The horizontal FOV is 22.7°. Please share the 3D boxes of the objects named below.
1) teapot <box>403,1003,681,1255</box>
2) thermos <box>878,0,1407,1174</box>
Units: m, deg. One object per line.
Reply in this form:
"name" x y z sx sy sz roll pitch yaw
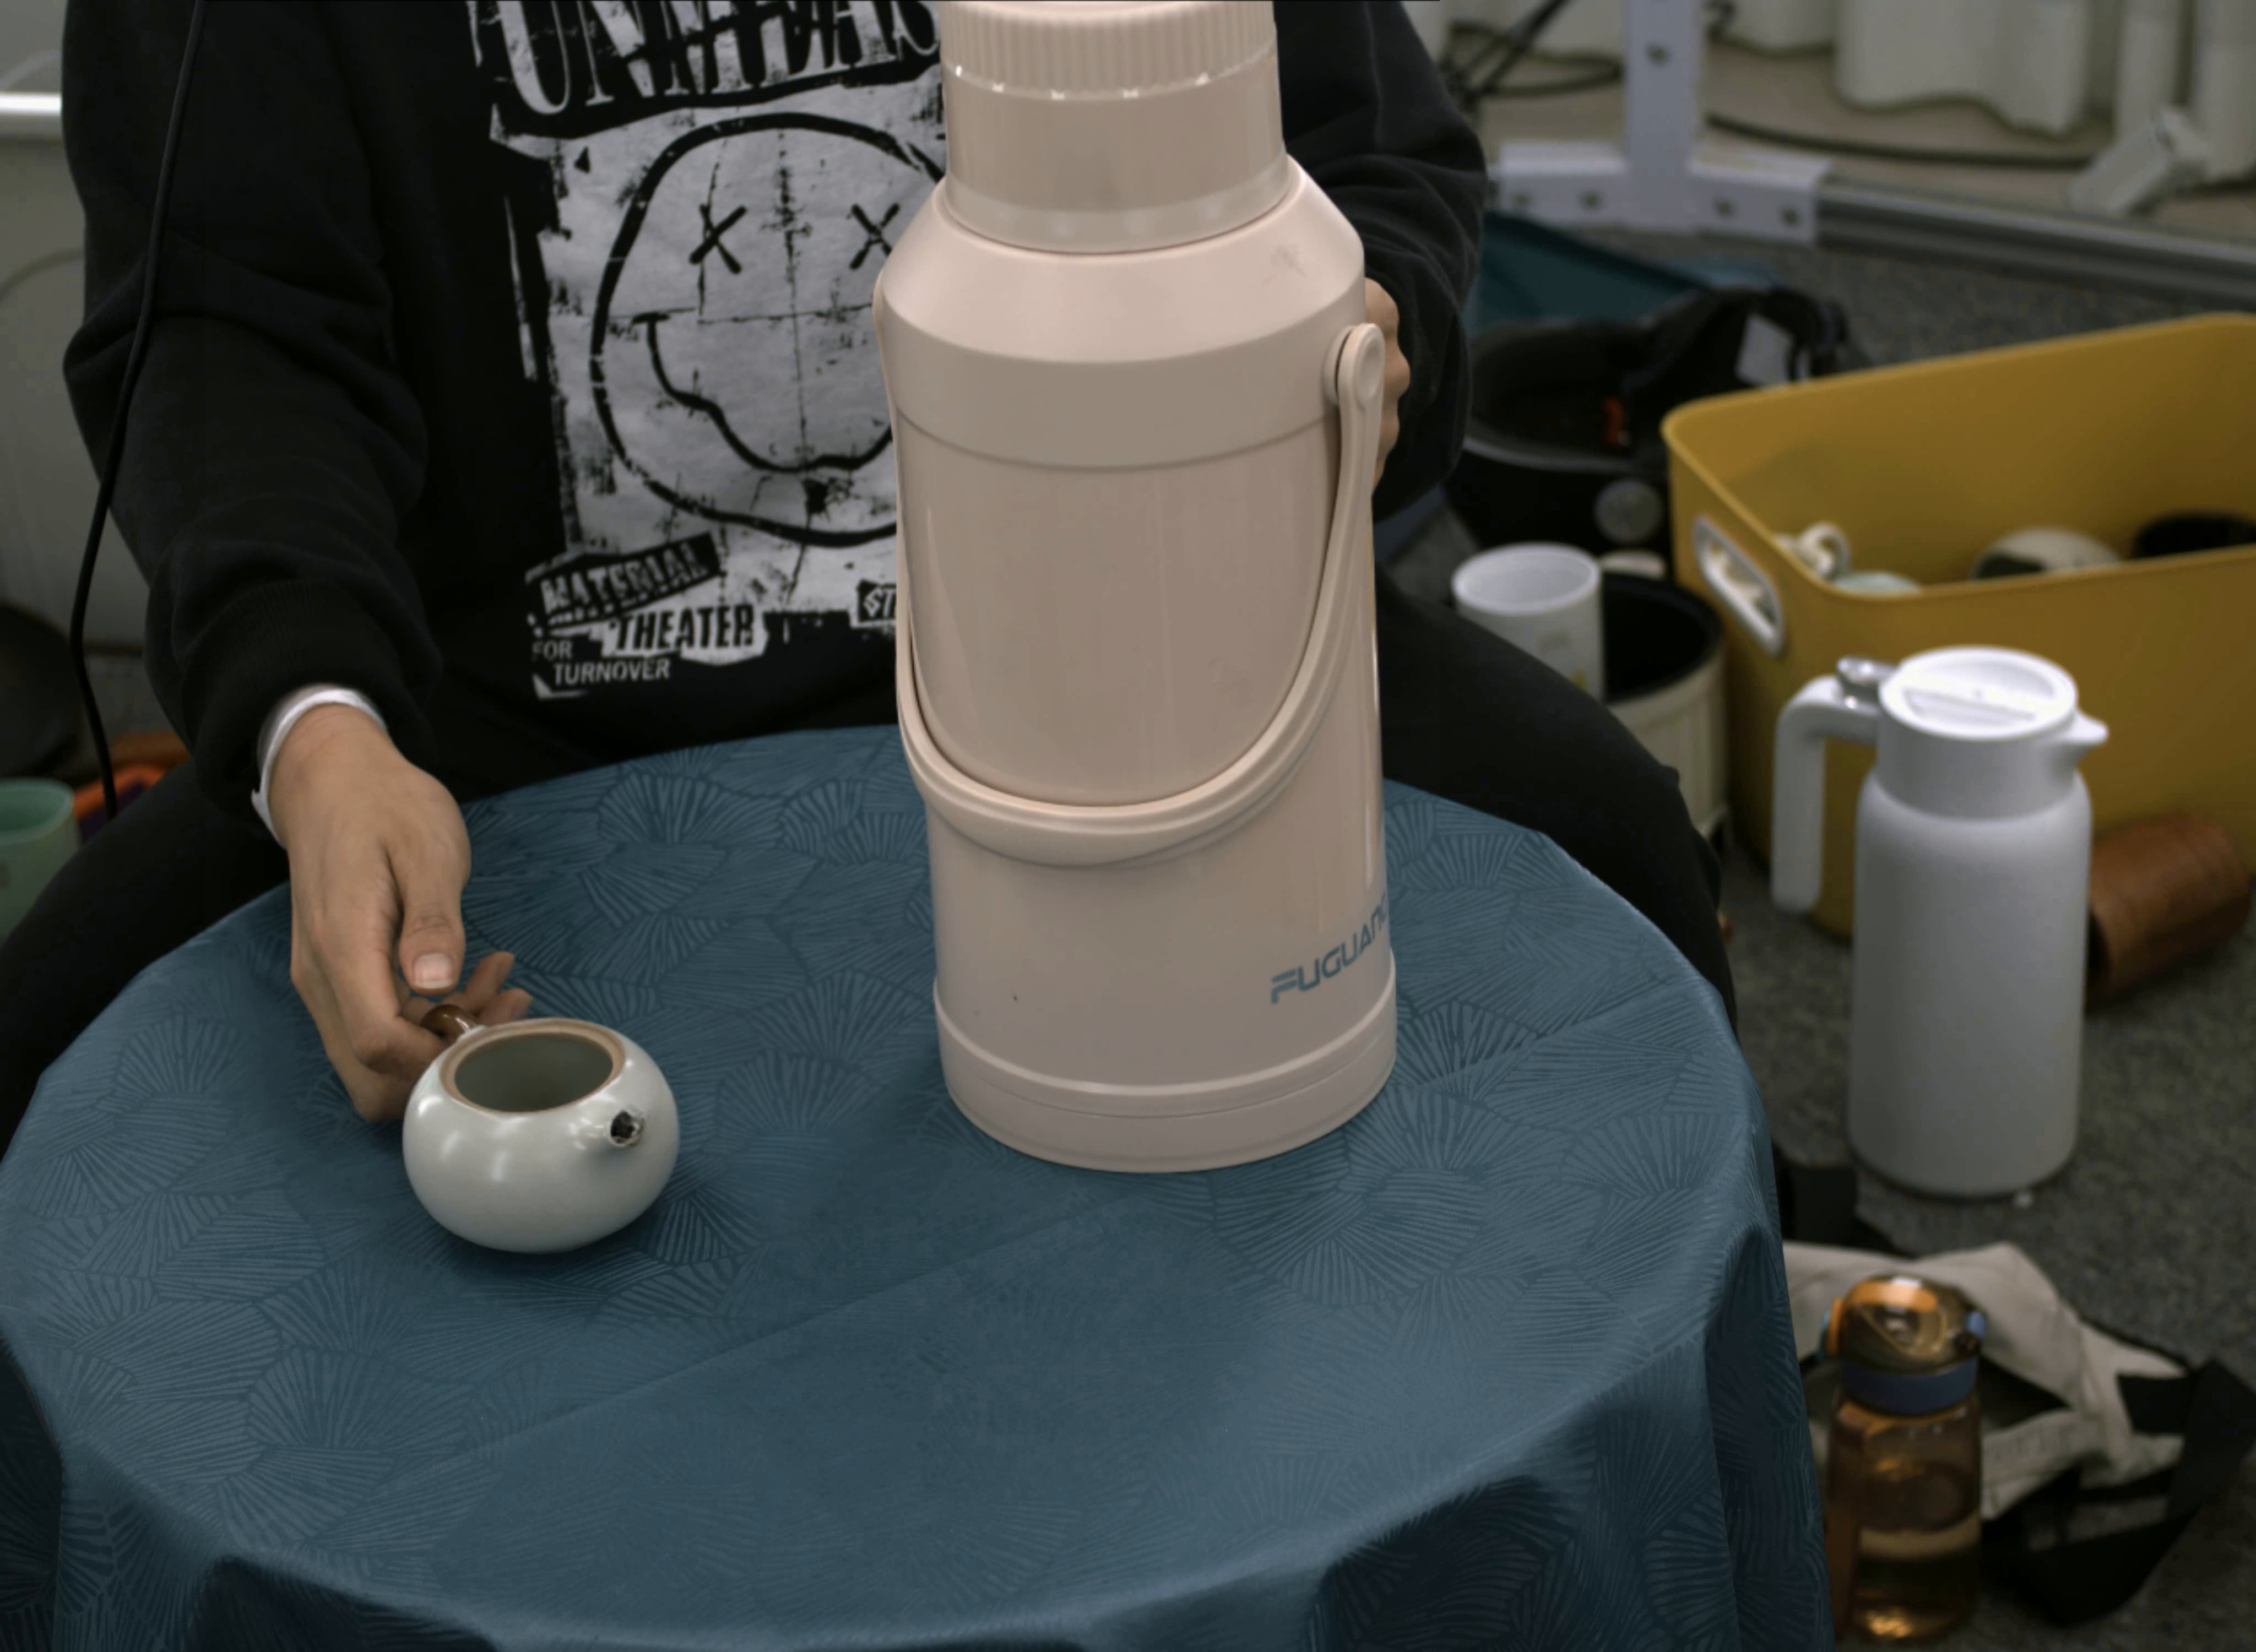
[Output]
"teapot" -0.199 0.100 1.858 0.093 0.059 0.128 -26 36 -33
"thermos" 0.013 -0.102 1.864 0.174 0.402 0.210 8 29 25
